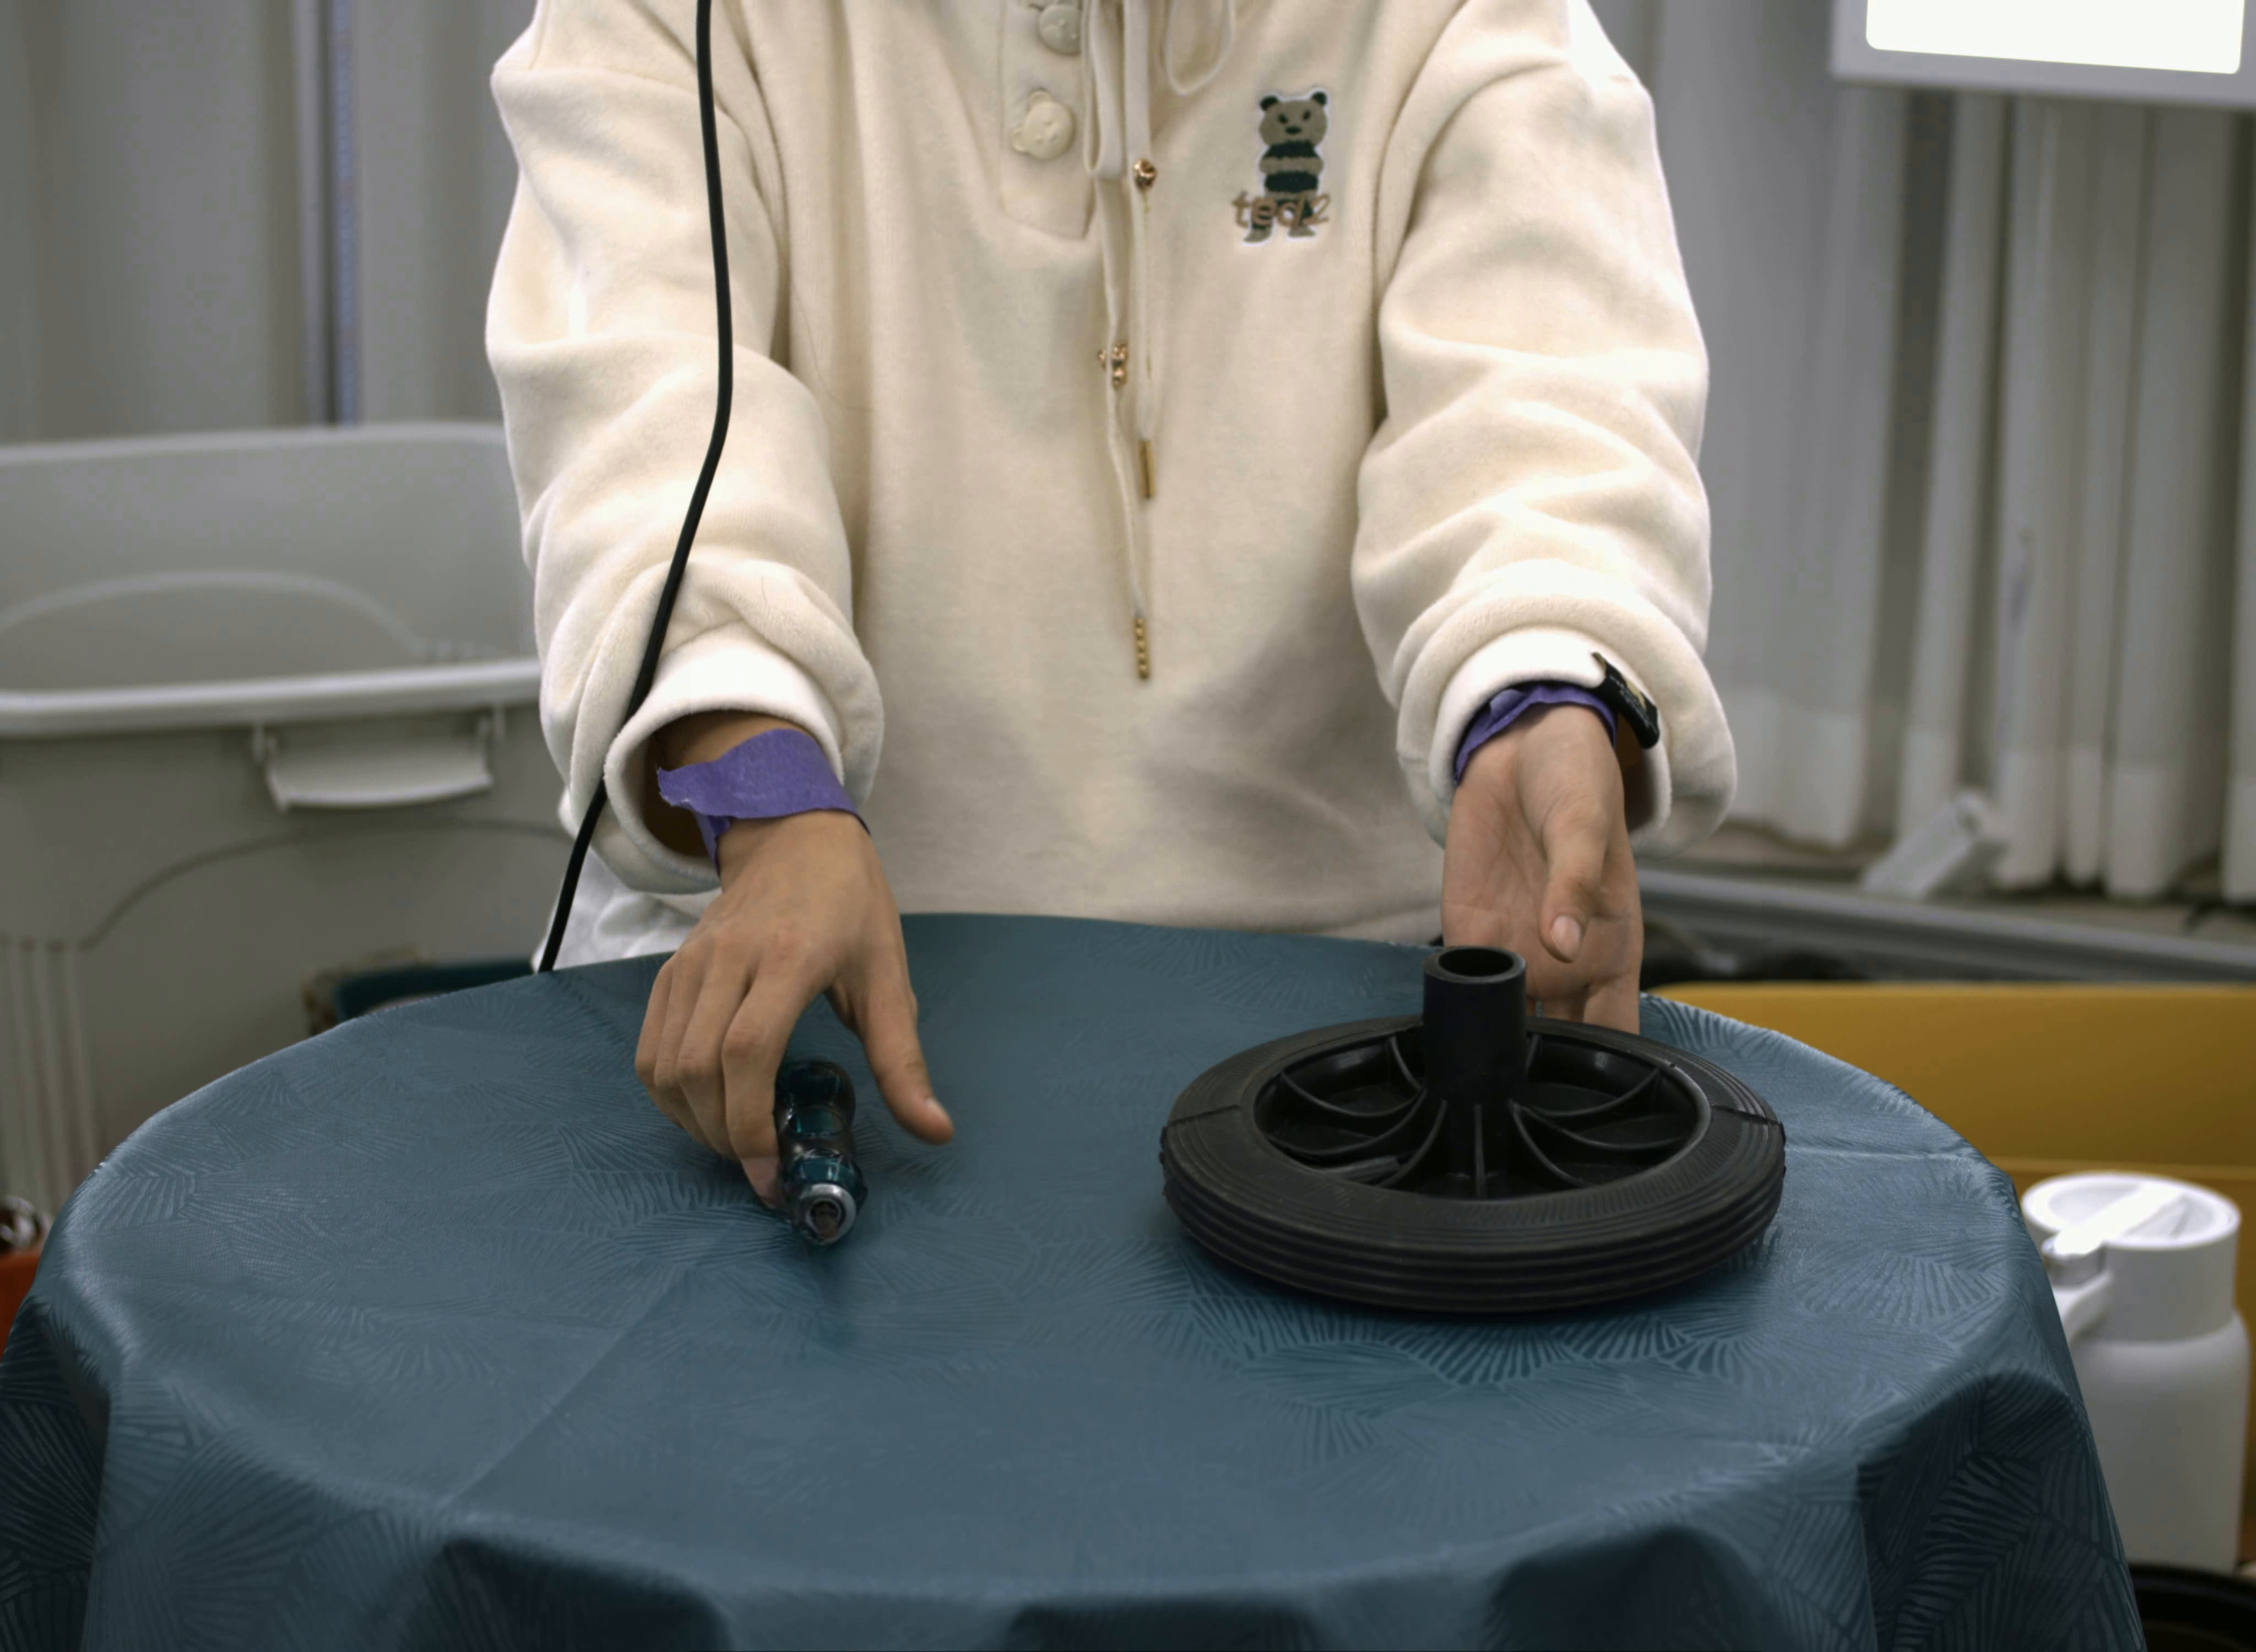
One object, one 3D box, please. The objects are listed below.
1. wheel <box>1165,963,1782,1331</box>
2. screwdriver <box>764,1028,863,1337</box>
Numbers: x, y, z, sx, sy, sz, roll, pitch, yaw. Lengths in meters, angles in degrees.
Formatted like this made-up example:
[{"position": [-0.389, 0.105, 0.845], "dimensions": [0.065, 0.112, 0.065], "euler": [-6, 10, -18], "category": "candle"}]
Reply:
[{"position": [0.103, 0.084, 1.584], "dimensions": [0.185, 0.080, 0.190], "euler": [14, 25, 34], "category": "wheel"}, {"position": [-0.093, 0.109, 1.584], "dimensions": [0.033, 0.034, 0.188], "euler": [-1, 22, -5], "category": "screwdriver"}]
